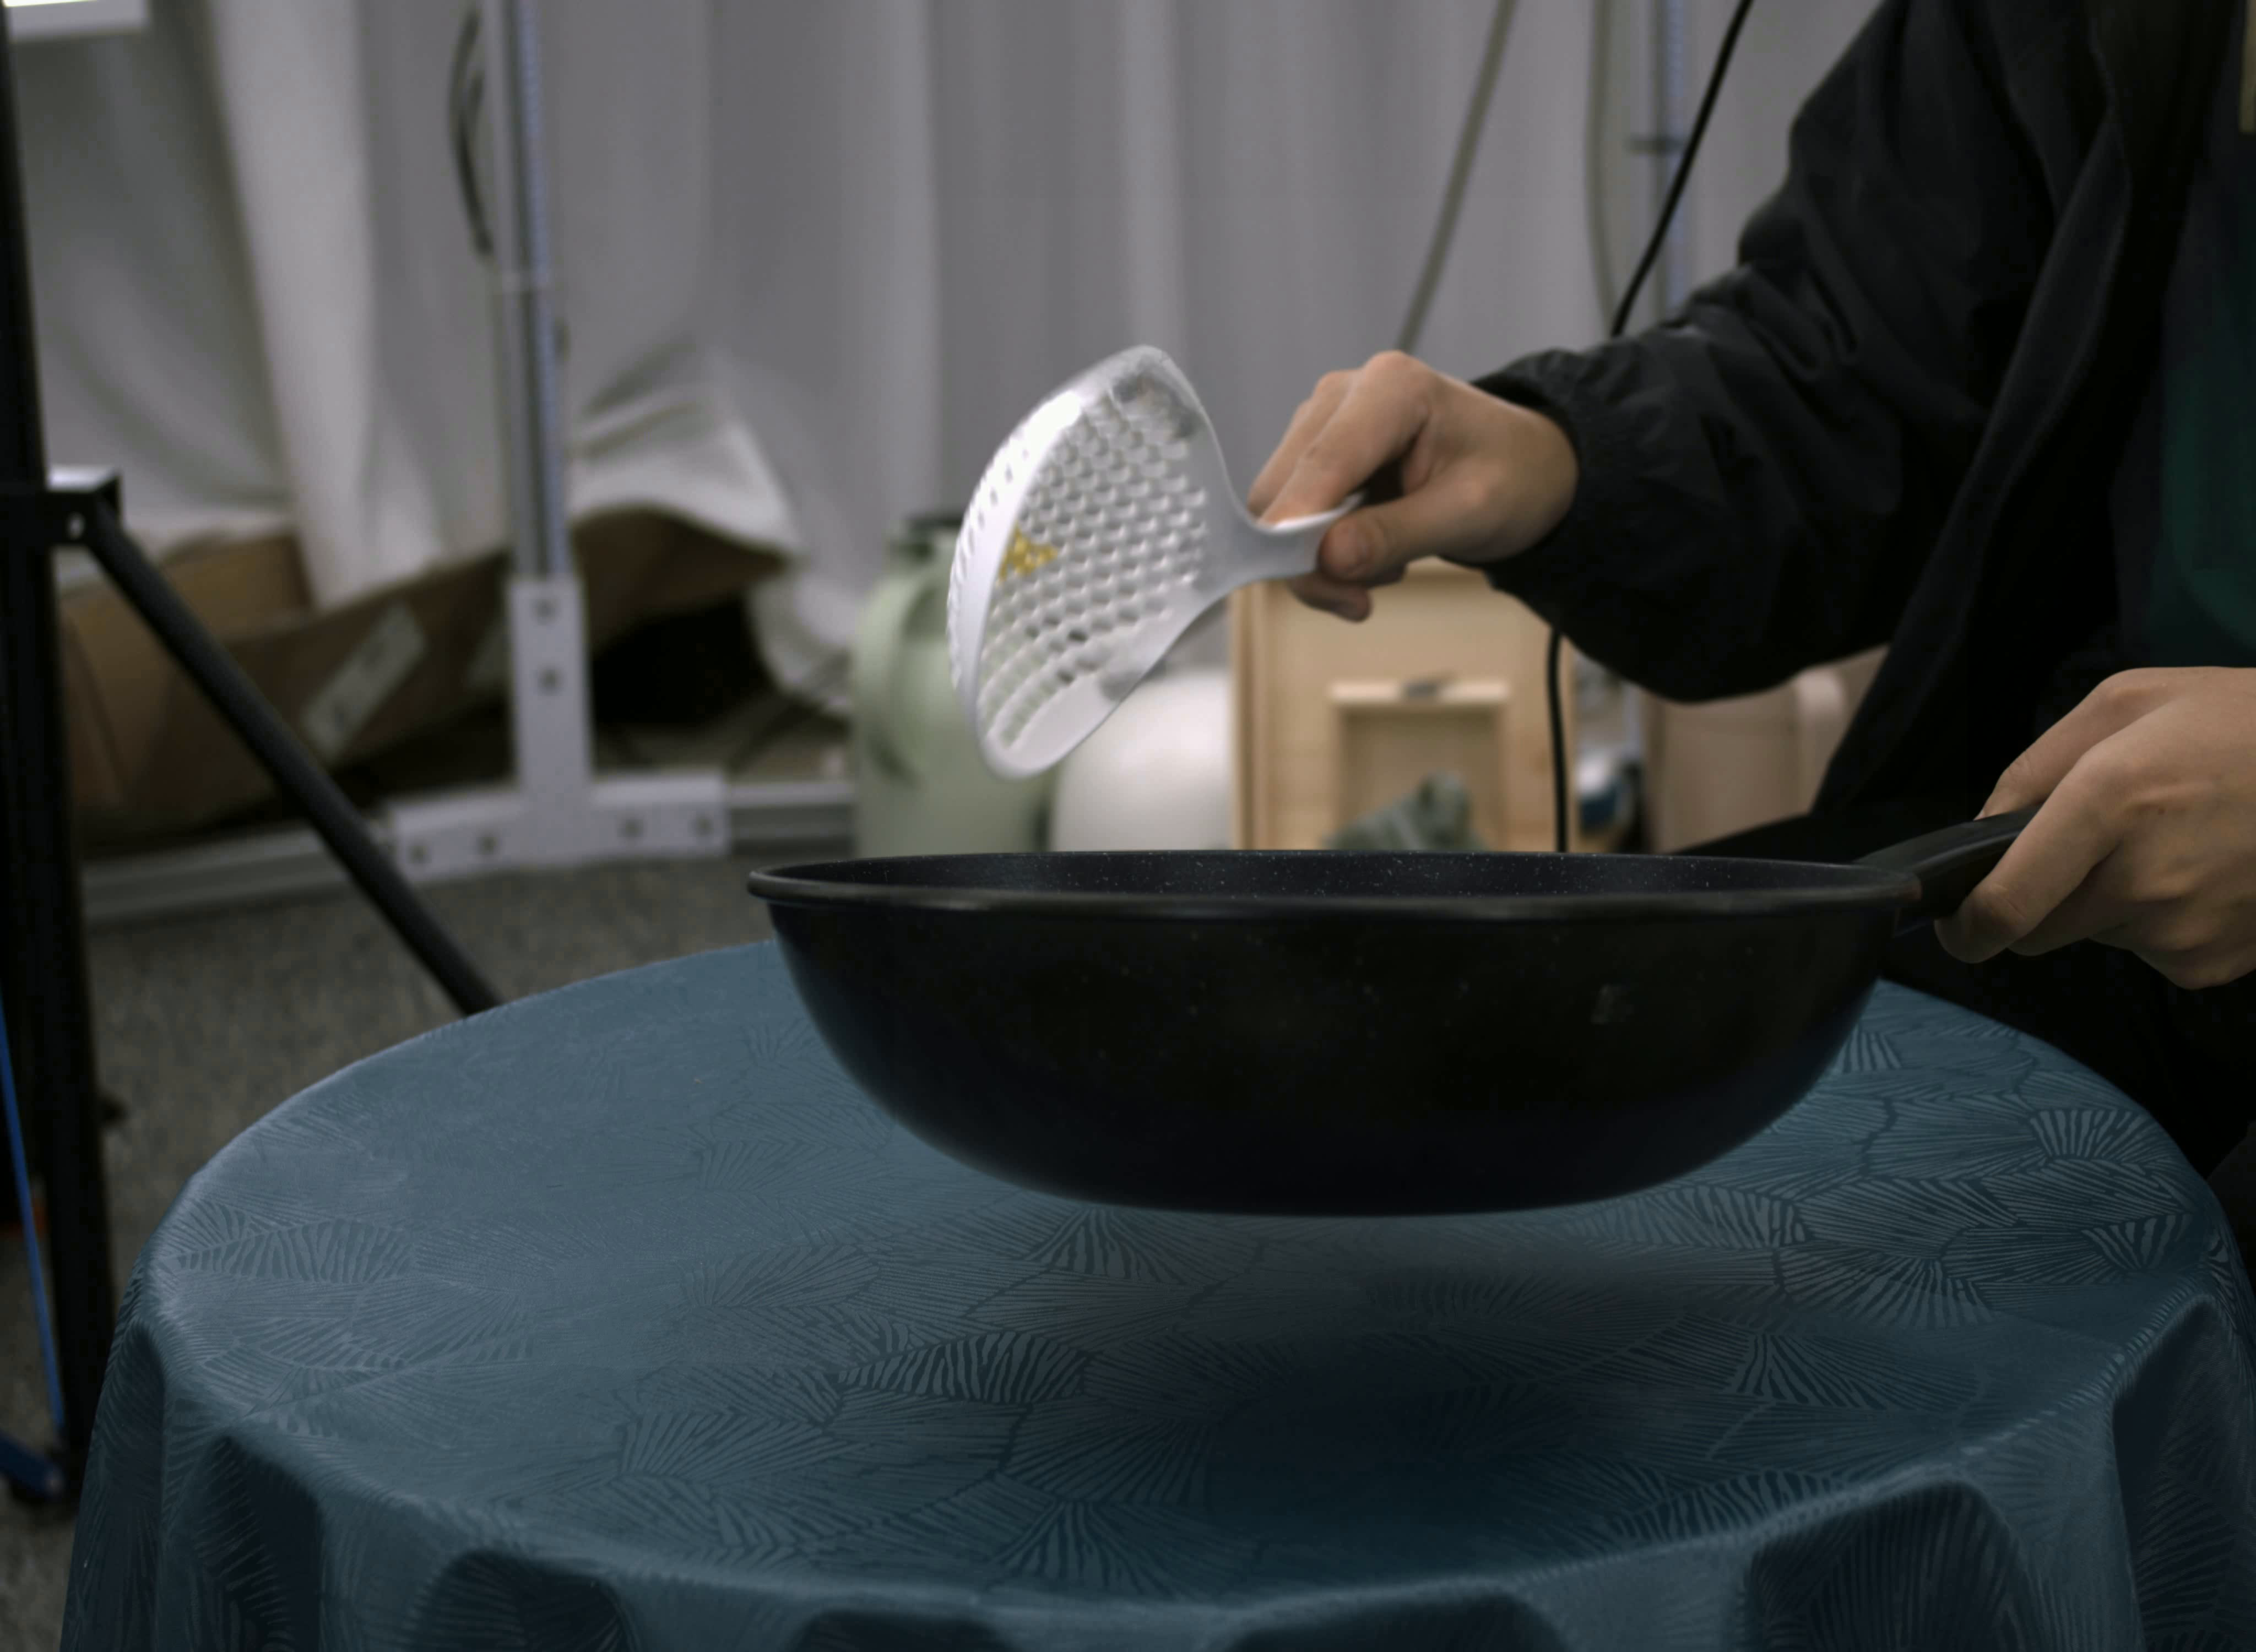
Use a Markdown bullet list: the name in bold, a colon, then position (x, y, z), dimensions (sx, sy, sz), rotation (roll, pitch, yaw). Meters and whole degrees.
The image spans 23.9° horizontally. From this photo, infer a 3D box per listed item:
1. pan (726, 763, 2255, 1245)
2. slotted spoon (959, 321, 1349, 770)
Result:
- **pan**: position (0.123, 0.044, 1.426), dimensions (0.466, 0.112, 0.316), rotation (-1, 4, -26)
- **slotted spoon**: position (0.021, -0.094, 1.706), dimensions (0.051, 0.137, 0.341), rotation (15, 9, 24)
